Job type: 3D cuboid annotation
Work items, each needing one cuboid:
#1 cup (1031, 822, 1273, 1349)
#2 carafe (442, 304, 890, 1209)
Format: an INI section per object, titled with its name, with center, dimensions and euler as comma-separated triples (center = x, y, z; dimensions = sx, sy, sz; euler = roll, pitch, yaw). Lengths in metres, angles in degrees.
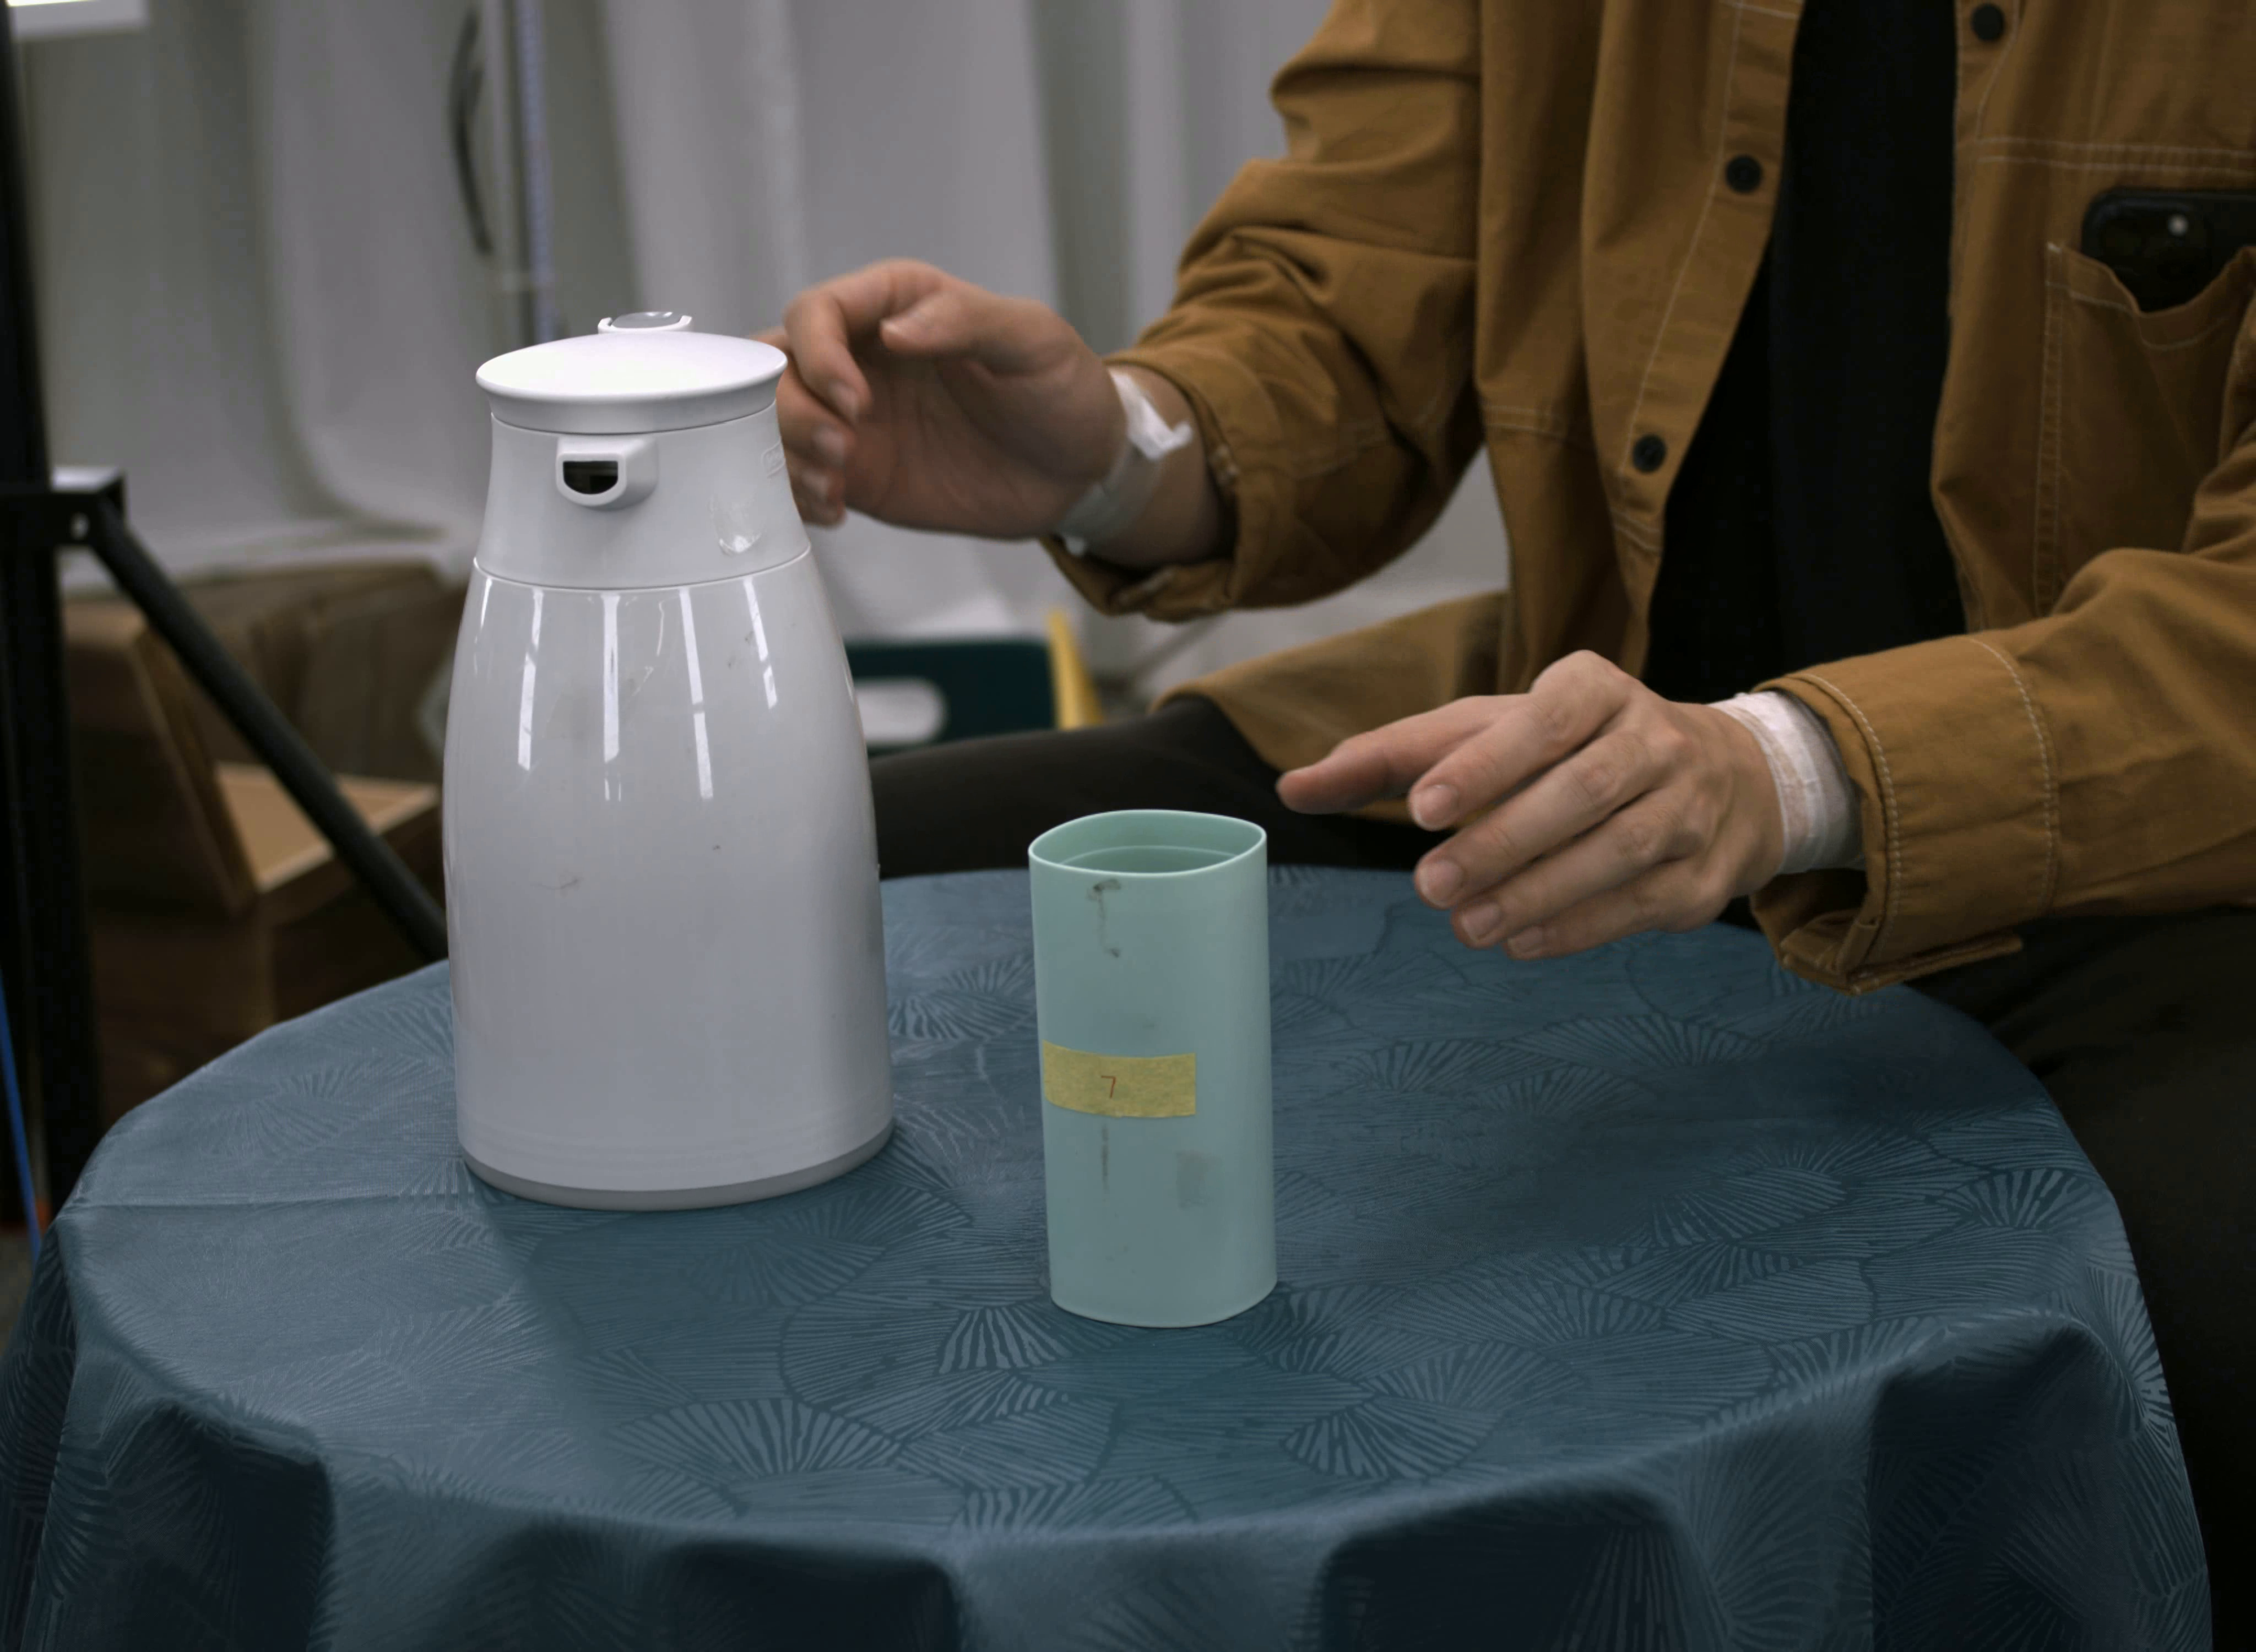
[cup]
center = 0.009, 0.070, 1.461
dimensions = 0.066, 0.132, 0.067
euler = -2, 15, -1
[carafe]
center = -0.140, -0.029, 1.609
dimensions = 0.133, 0.248, 0.167
euler = 0, 15, 7
